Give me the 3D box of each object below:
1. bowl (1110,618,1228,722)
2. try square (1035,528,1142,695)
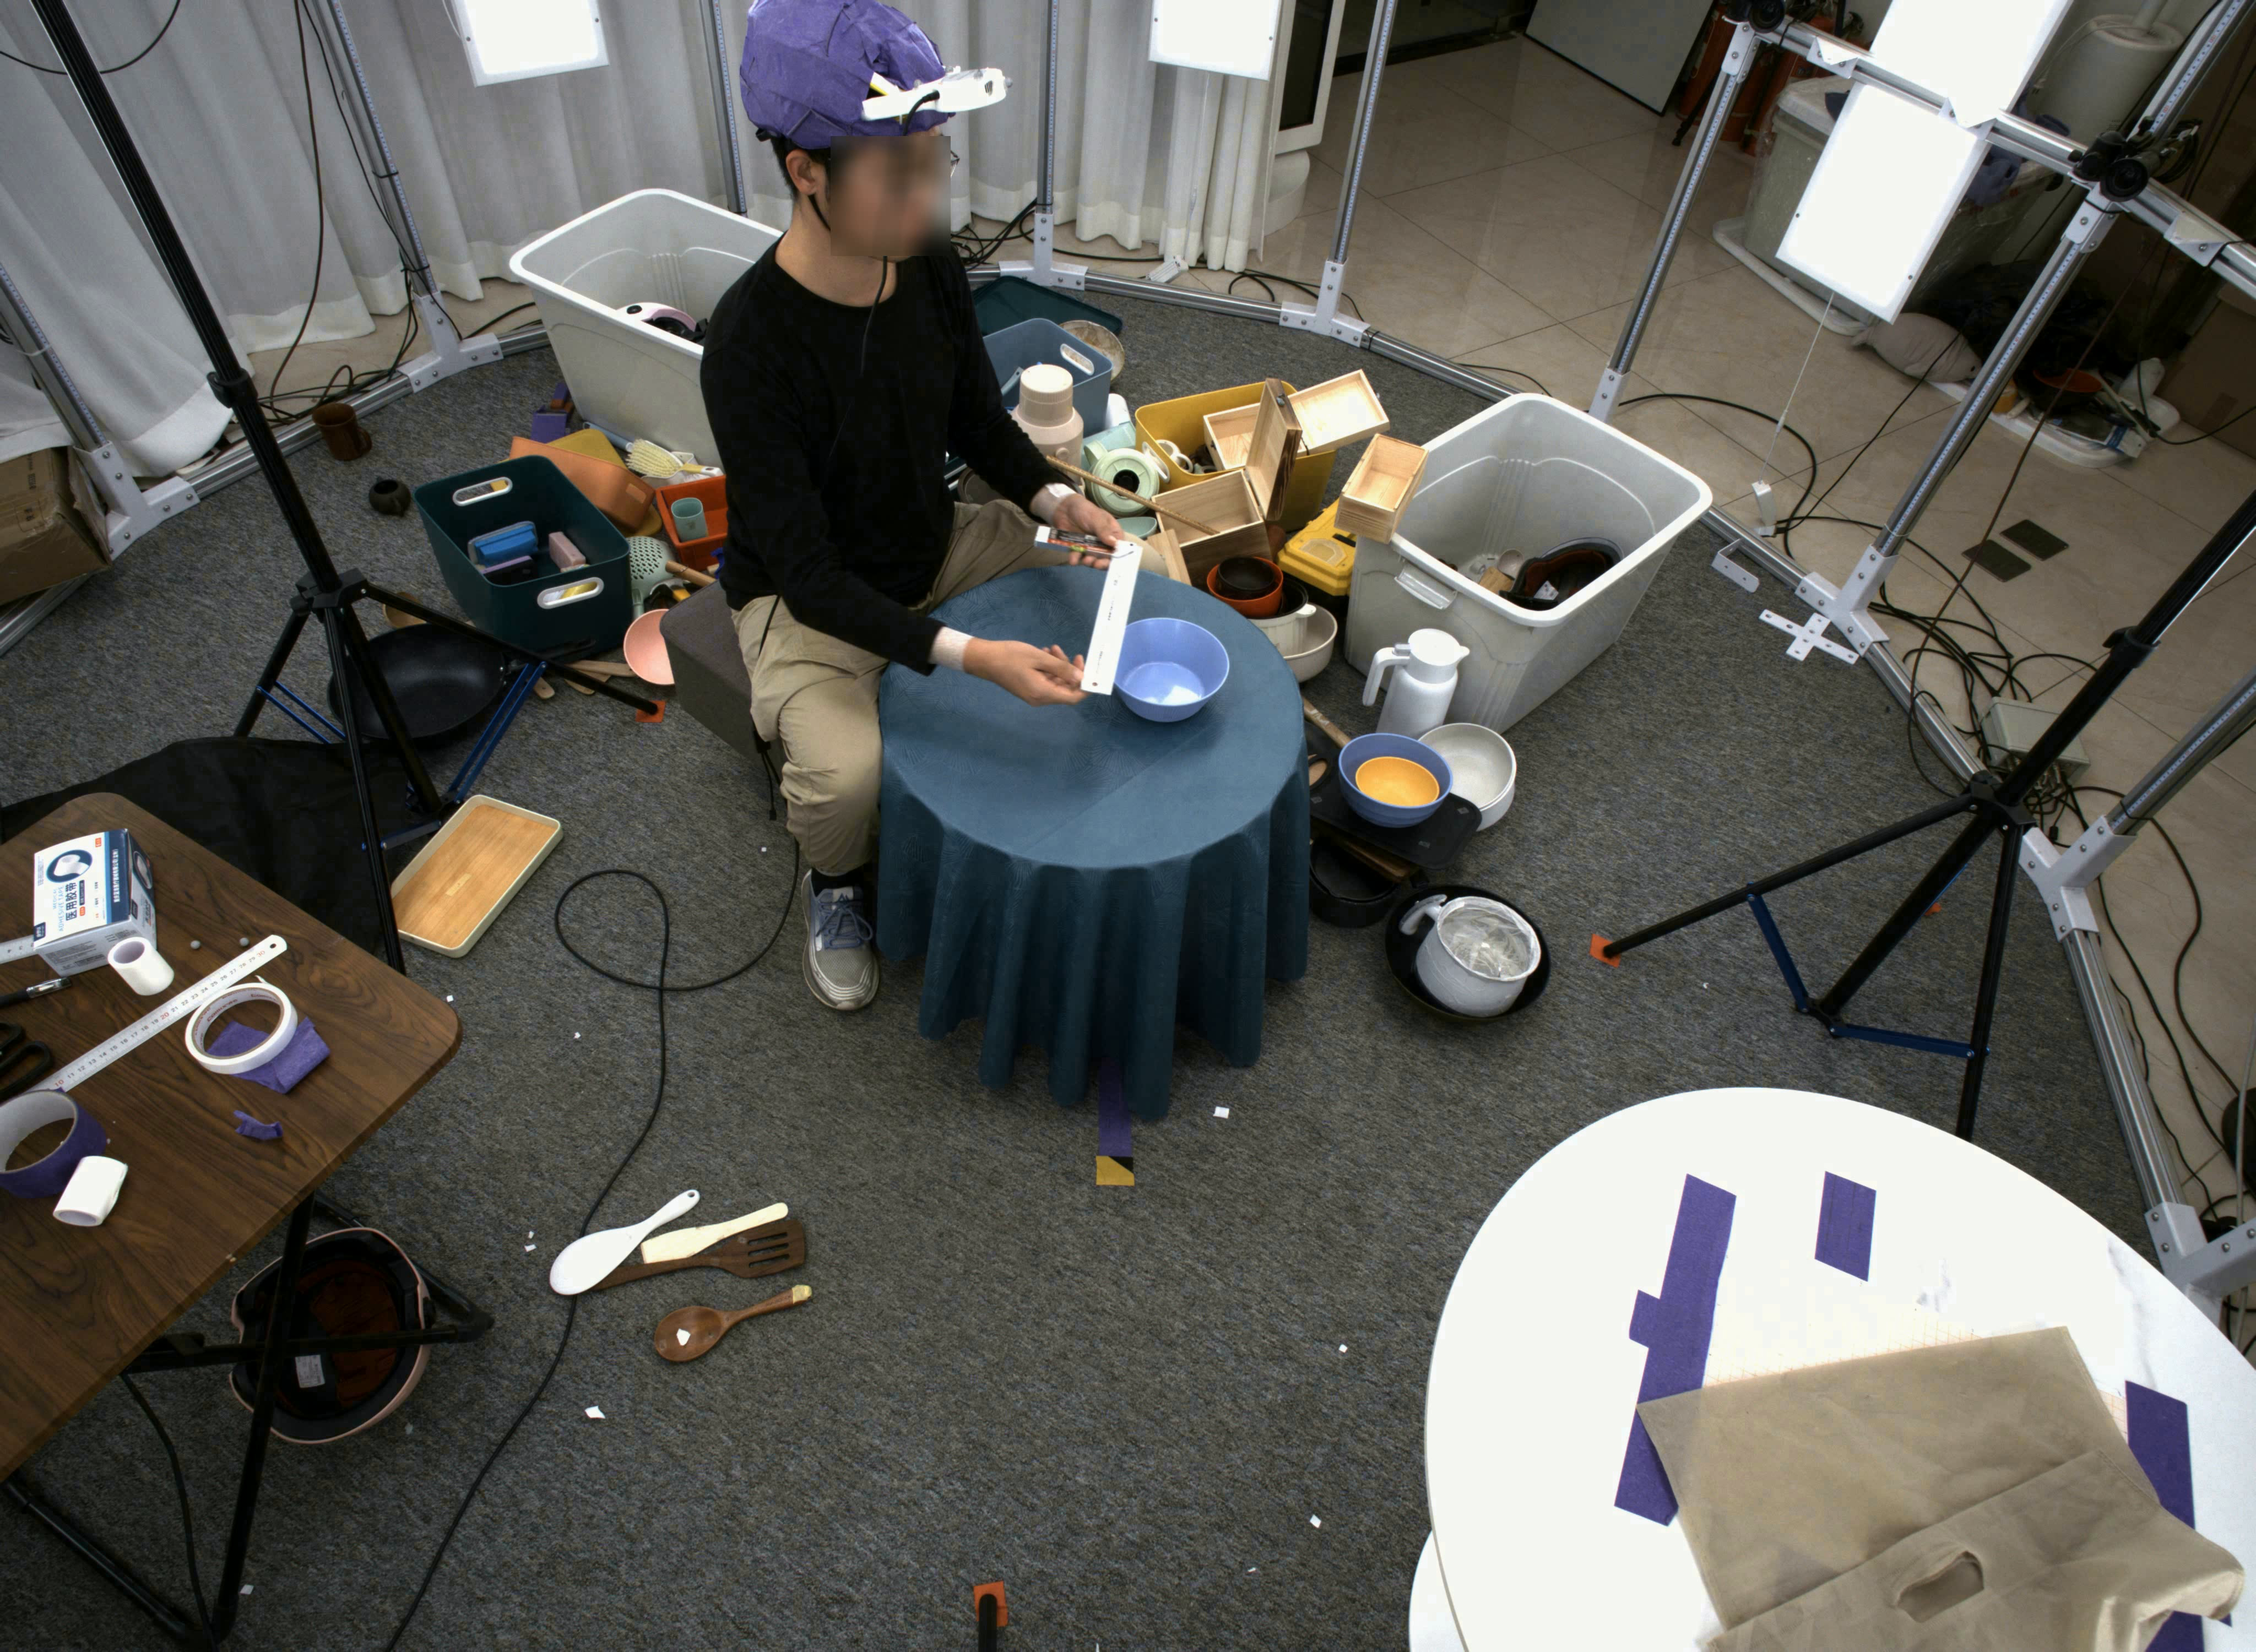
[{"bbox_3d":[0.050,-0.211,1.812,0.176,0.068,0.180,2,50,-2],"label":"bowl"},{"bbox_3d":[-0.076,-0.300,1.761,0.152,0.015,0.320,9,49,3],"label":"try square"}]
